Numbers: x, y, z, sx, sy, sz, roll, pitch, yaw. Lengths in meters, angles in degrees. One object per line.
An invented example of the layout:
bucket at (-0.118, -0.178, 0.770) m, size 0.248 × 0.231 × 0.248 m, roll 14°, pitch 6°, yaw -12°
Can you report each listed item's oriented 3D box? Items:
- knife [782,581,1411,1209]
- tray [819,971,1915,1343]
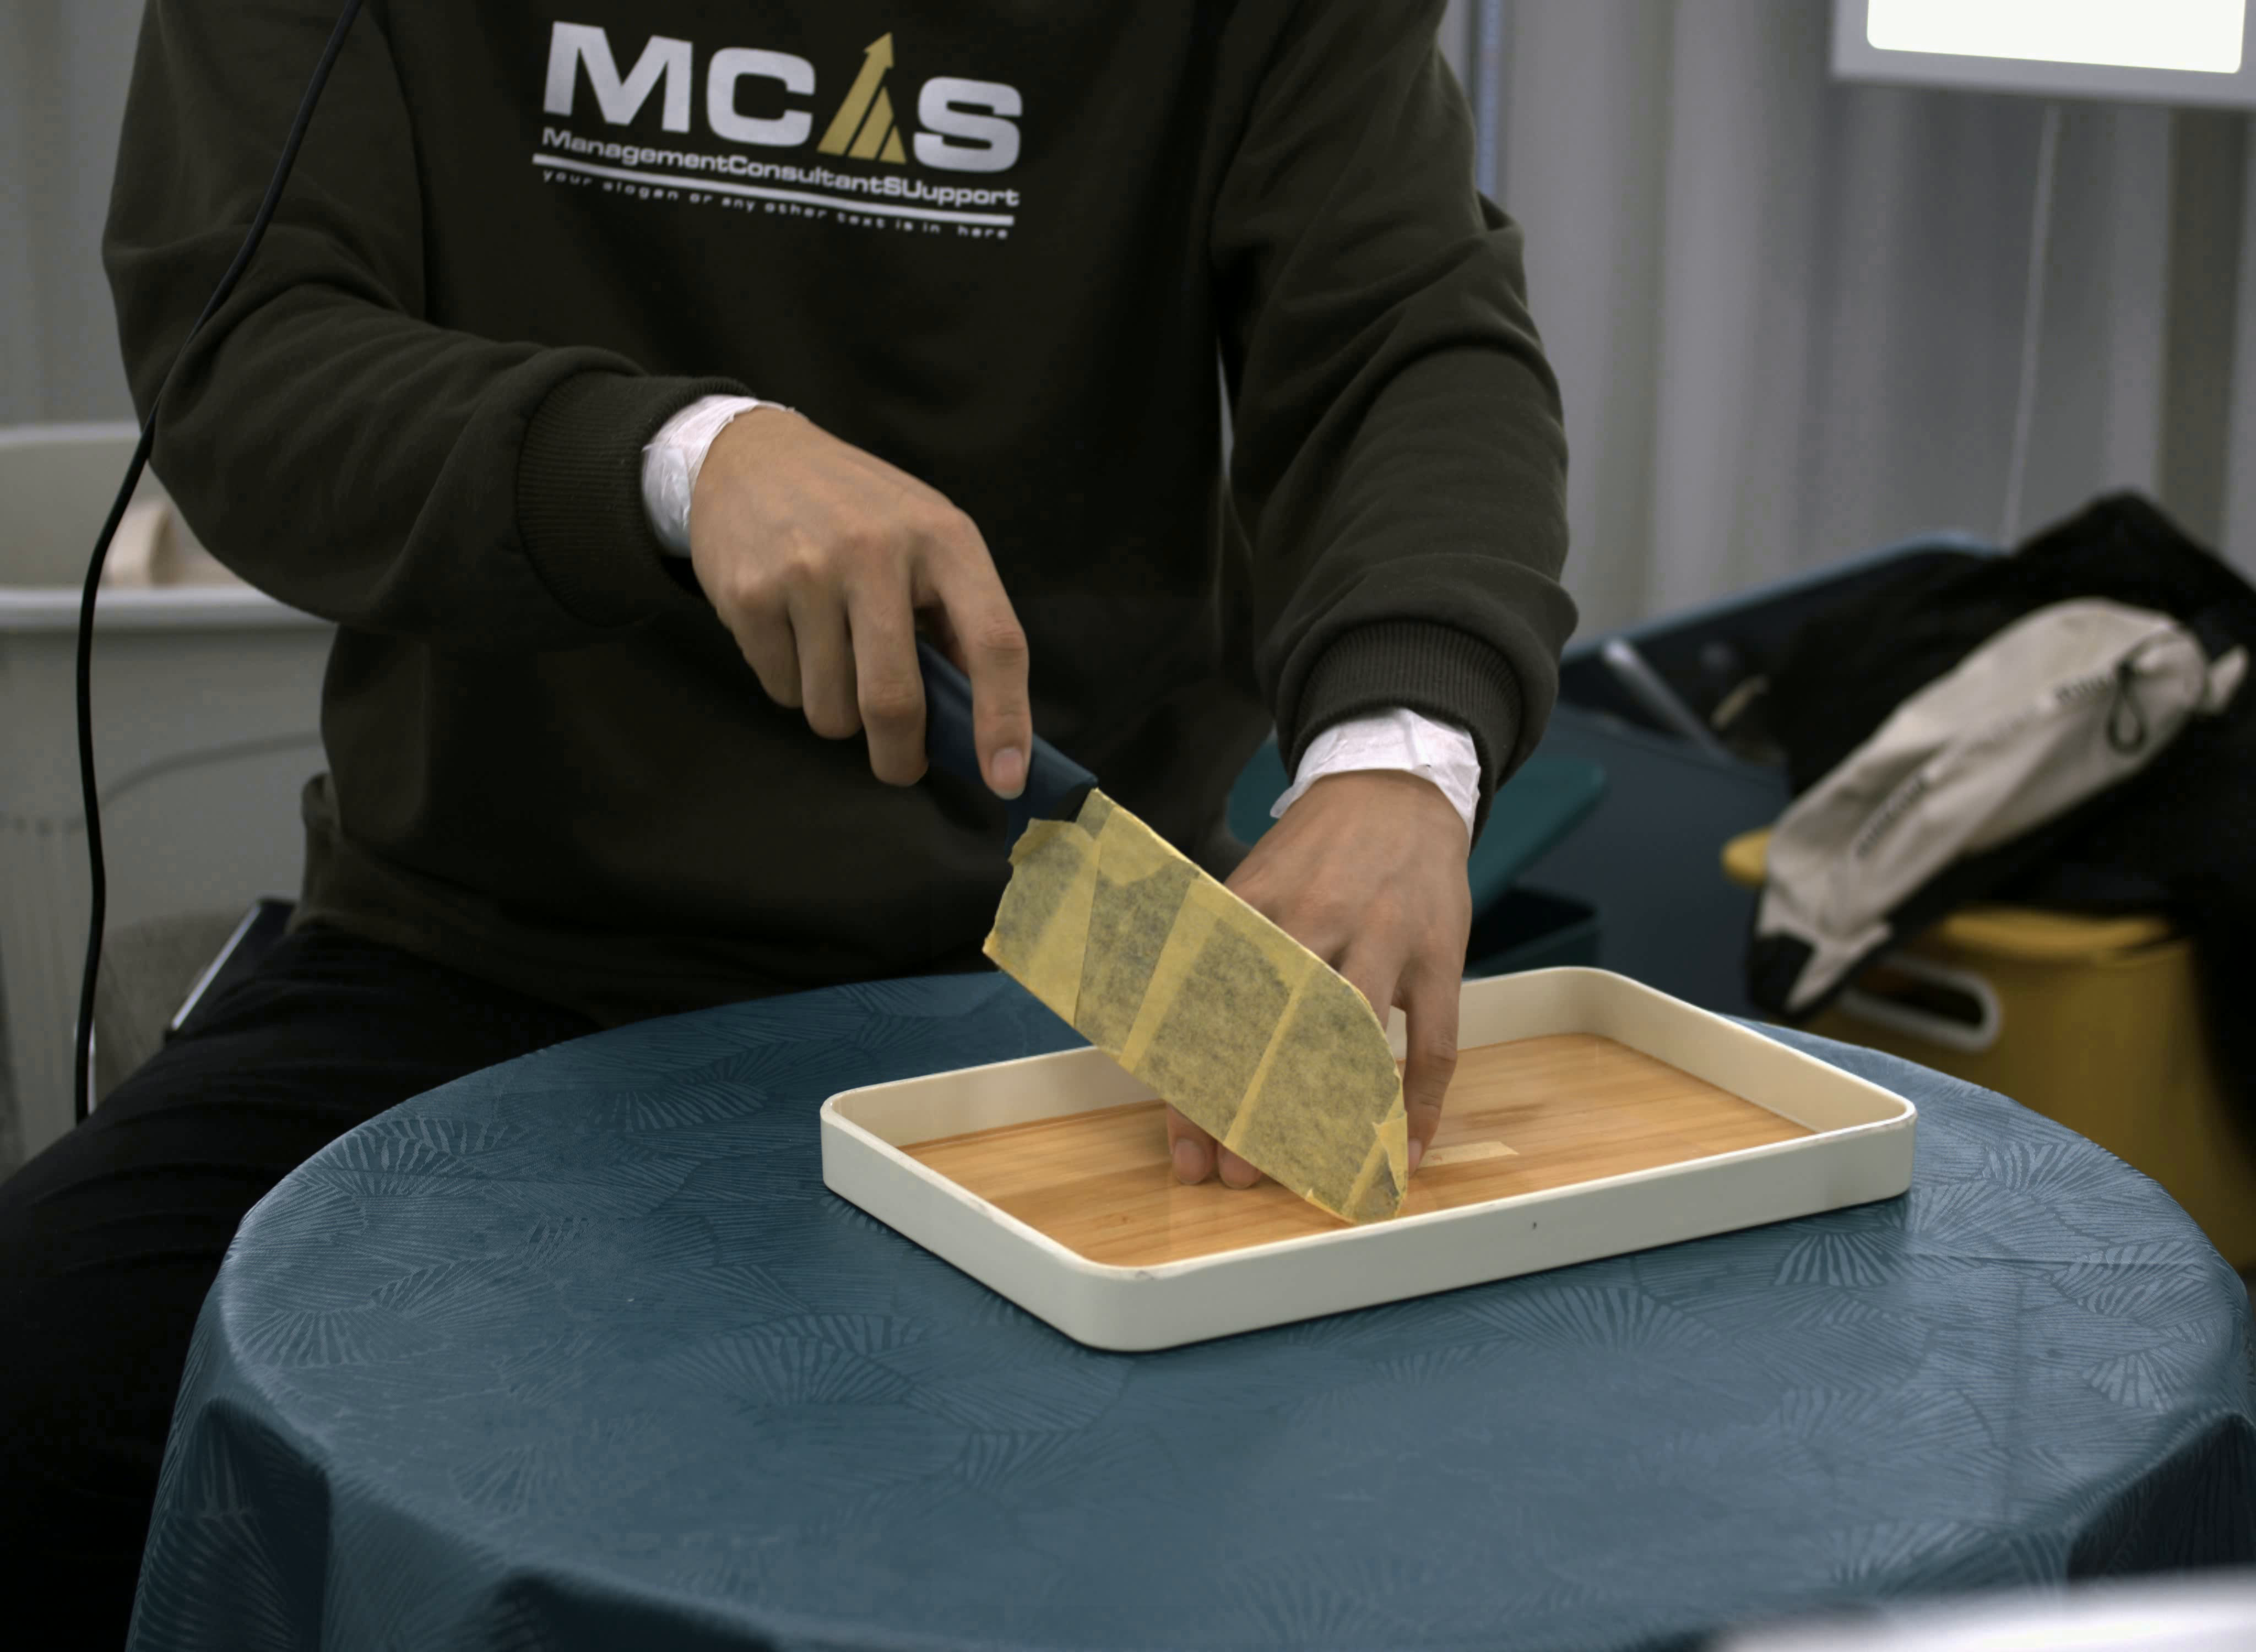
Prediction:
knife at (-0.013, 0.020, 1.618) m, size 0.286 × 0.081 × 0.027 m, roll 42°, pitch 30°, yaw 26°
tray at (0.074, 0.098, 1.629) m, size 0.301 × 0.027 × 0.189 m, roll -8°, pitch 17°, yaw -30°
